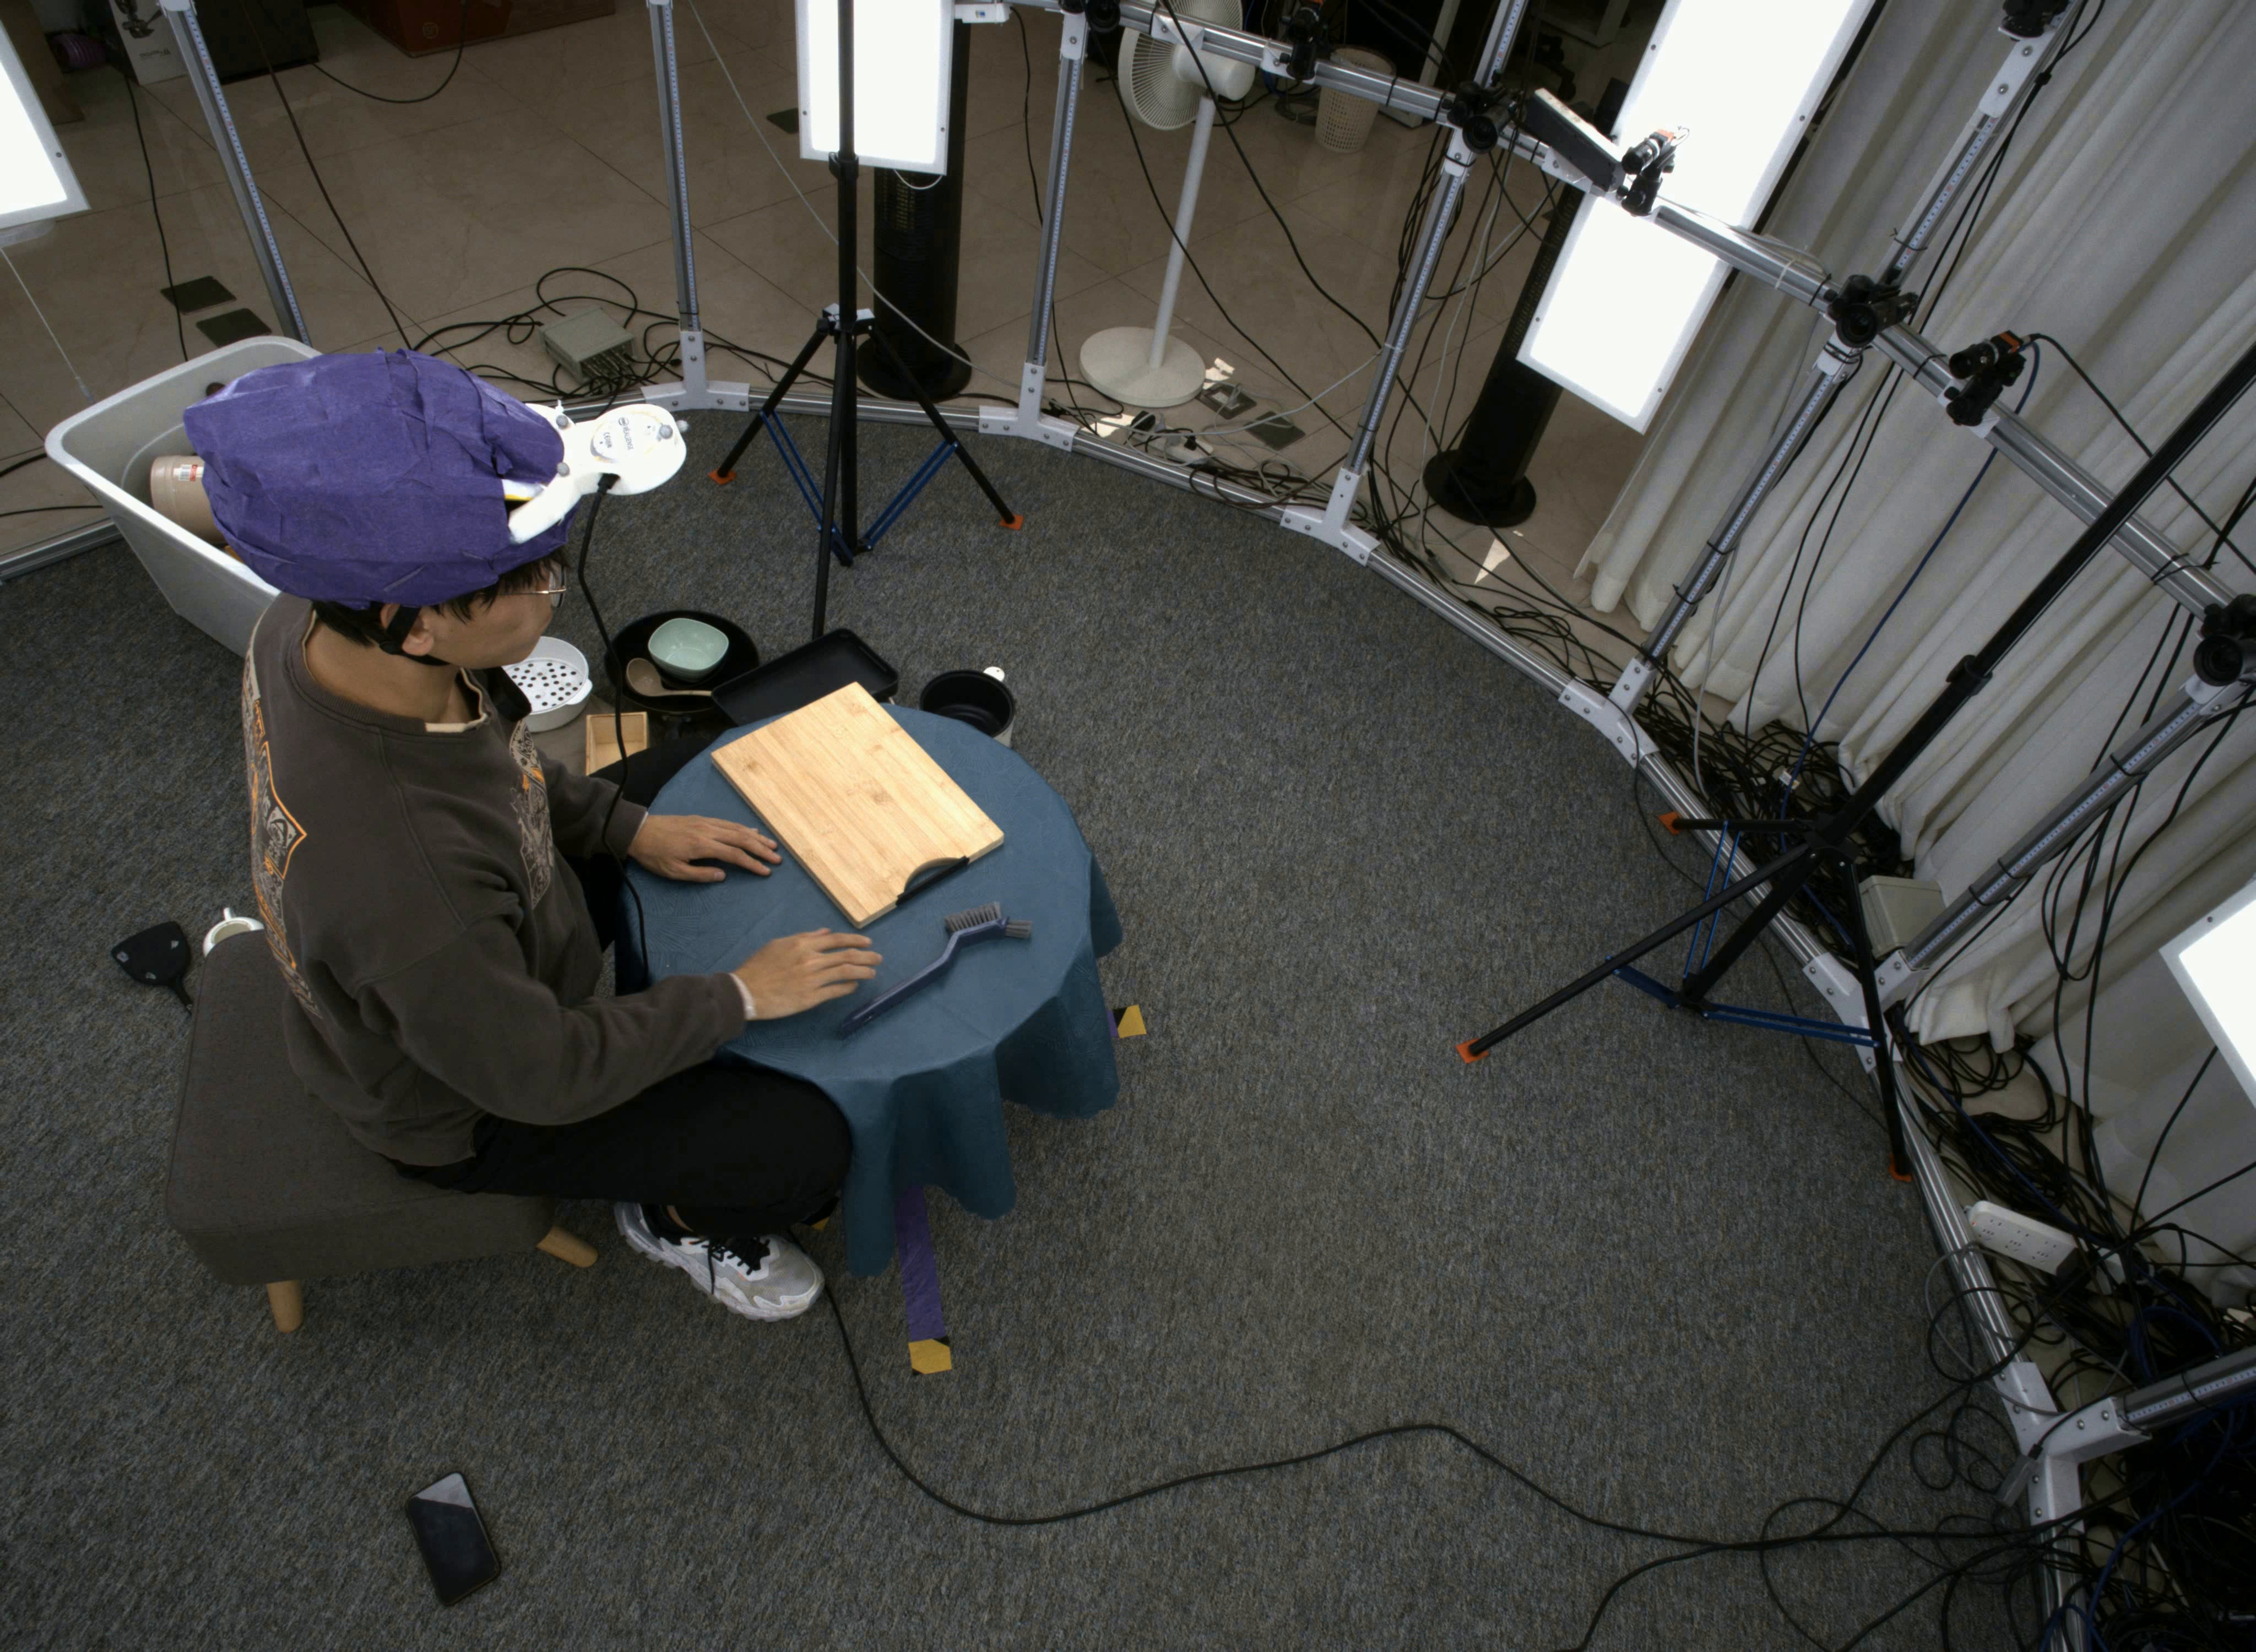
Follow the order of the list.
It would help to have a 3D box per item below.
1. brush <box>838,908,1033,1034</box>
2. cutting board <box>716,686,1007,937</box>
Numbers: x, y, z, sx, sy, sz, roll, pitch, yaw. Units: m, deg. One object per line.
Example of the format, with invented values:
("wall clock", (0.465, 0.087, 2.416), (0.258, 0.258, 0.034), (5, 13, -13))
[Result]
("brush", (-0.241, 0.184, 1.628), (0.094, 0.034, 0.273), (38, 54, 15))
("cutting board", (-0.363, -0.033, 1.767), (0.251, 0.024, 0.341), (-35, 68, -31))
